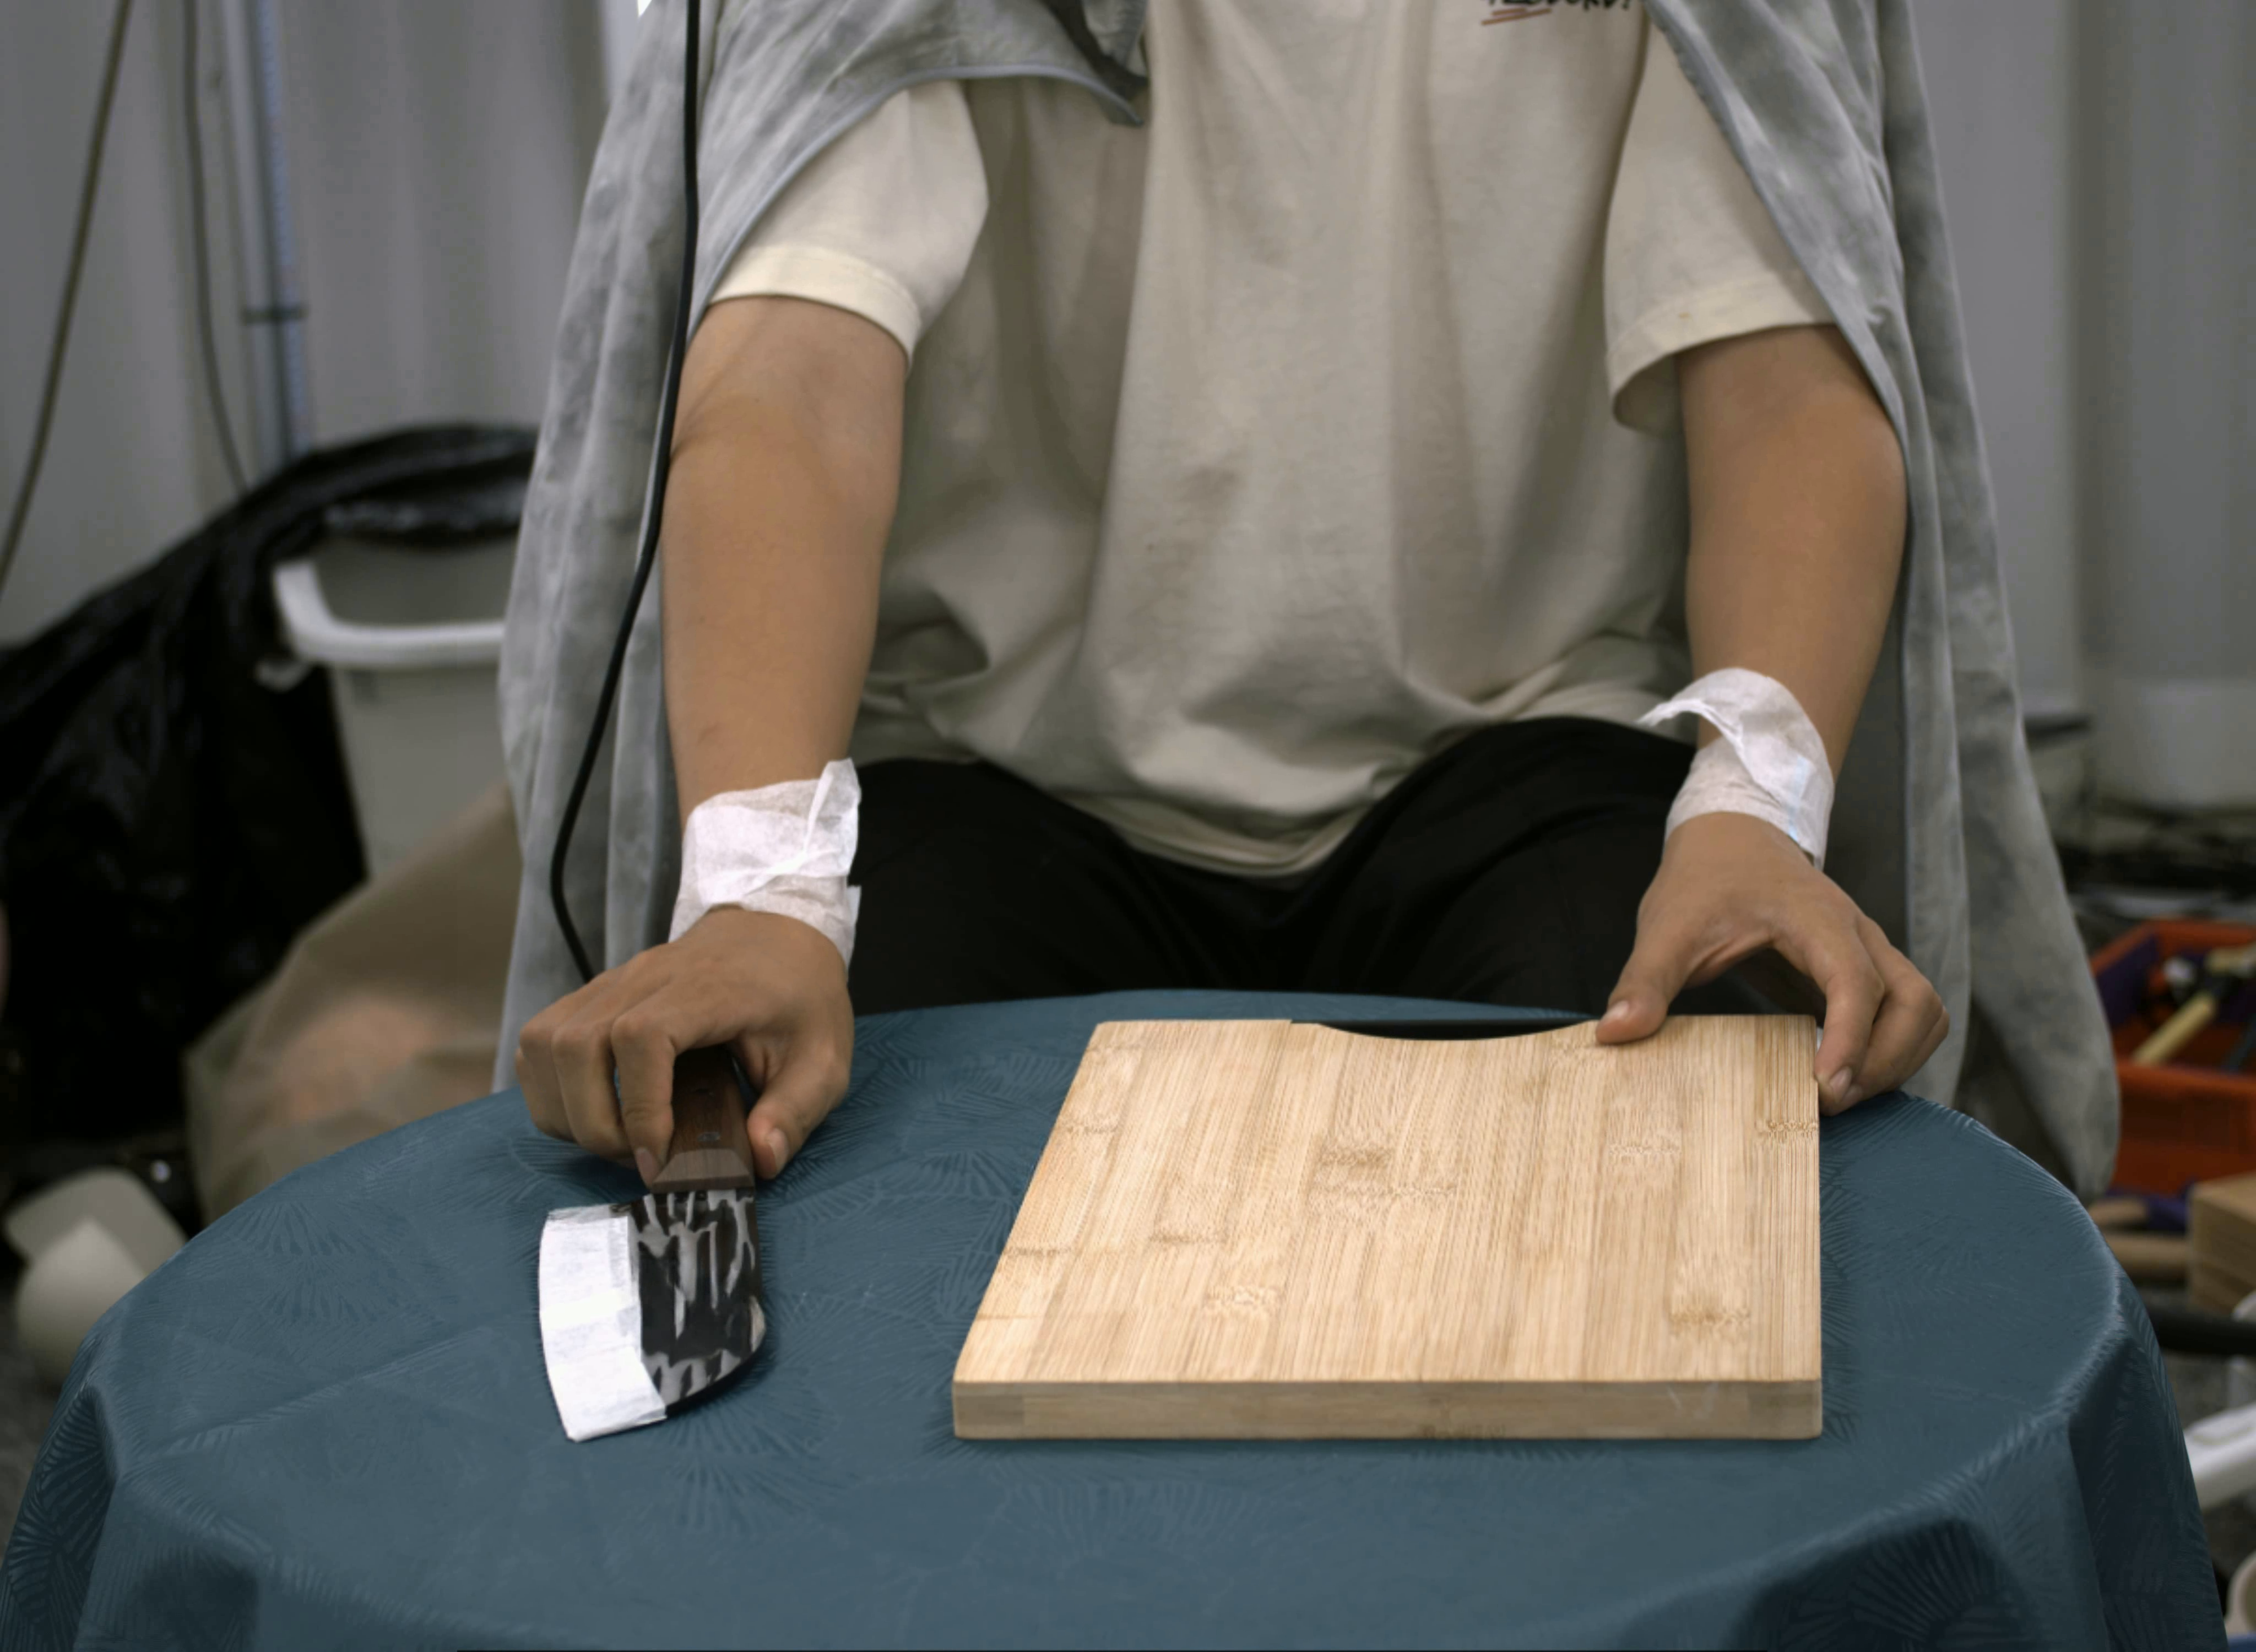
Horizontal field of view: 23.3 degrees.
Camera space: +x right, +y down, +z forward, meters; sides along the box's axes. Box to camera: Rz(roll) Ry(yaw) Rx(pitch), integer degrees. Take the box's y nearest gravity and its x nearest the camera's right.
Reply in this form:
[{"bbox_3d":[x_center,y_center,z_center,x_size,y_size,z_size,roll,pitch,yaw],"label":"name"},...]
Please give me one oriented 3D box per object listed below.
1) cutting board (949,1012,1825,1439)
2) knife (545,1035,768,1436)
[{"bbox_3d":[0.090,0.116,1.666,0.250,0.023,0.350,-1,15,6],"label":"cutting board"},{"bbox_3d":[-0.145,0.124,1.674,0.068,0.024,0.302,-7,17,-3],"label":"knife"}]
